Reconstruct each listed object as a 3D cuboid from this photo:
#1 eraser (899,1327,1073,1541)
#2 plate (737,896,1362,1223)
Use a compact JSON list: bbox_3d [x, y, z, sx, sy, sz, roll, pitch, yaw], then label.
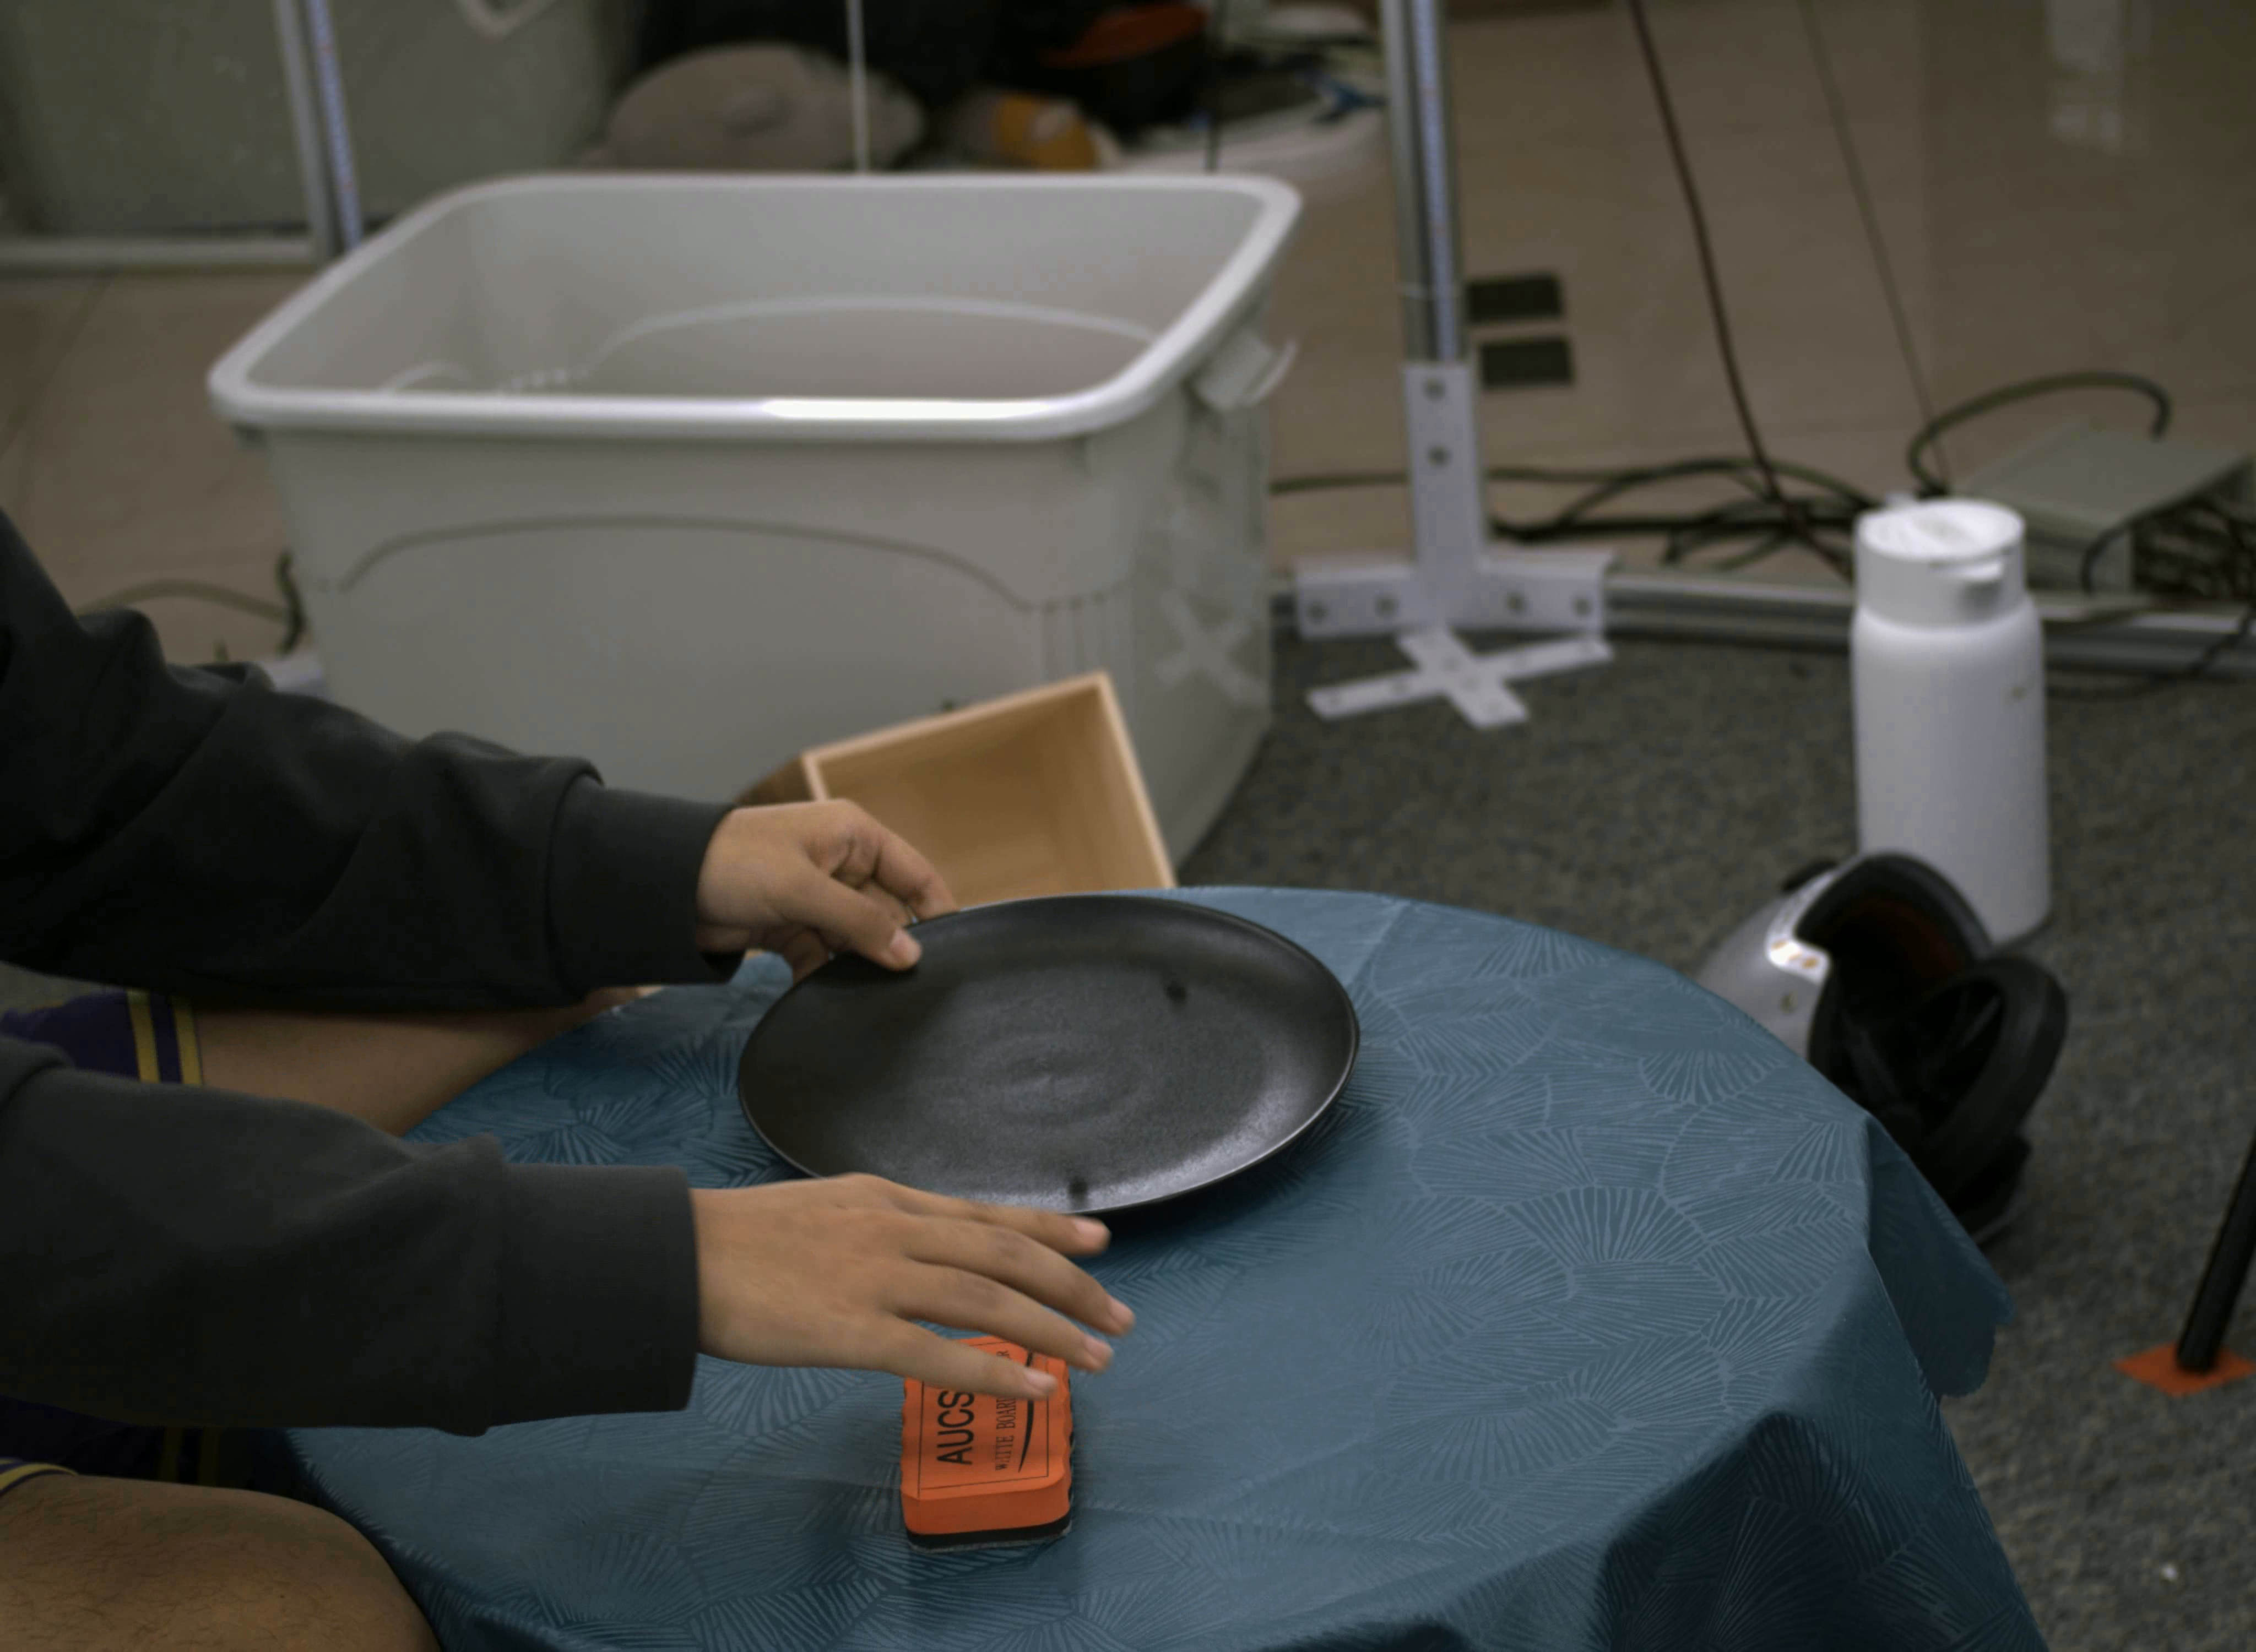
[{"bbox_3d":[-0.049,0.210,1.971,0.059,0.023,0.106,-5,23,1],"label":"eraser"},{"bbox_3d":[-0.030,0.095,2.205,0.244,0.024,0.240,-4,29,2],"label":"plate"}]
